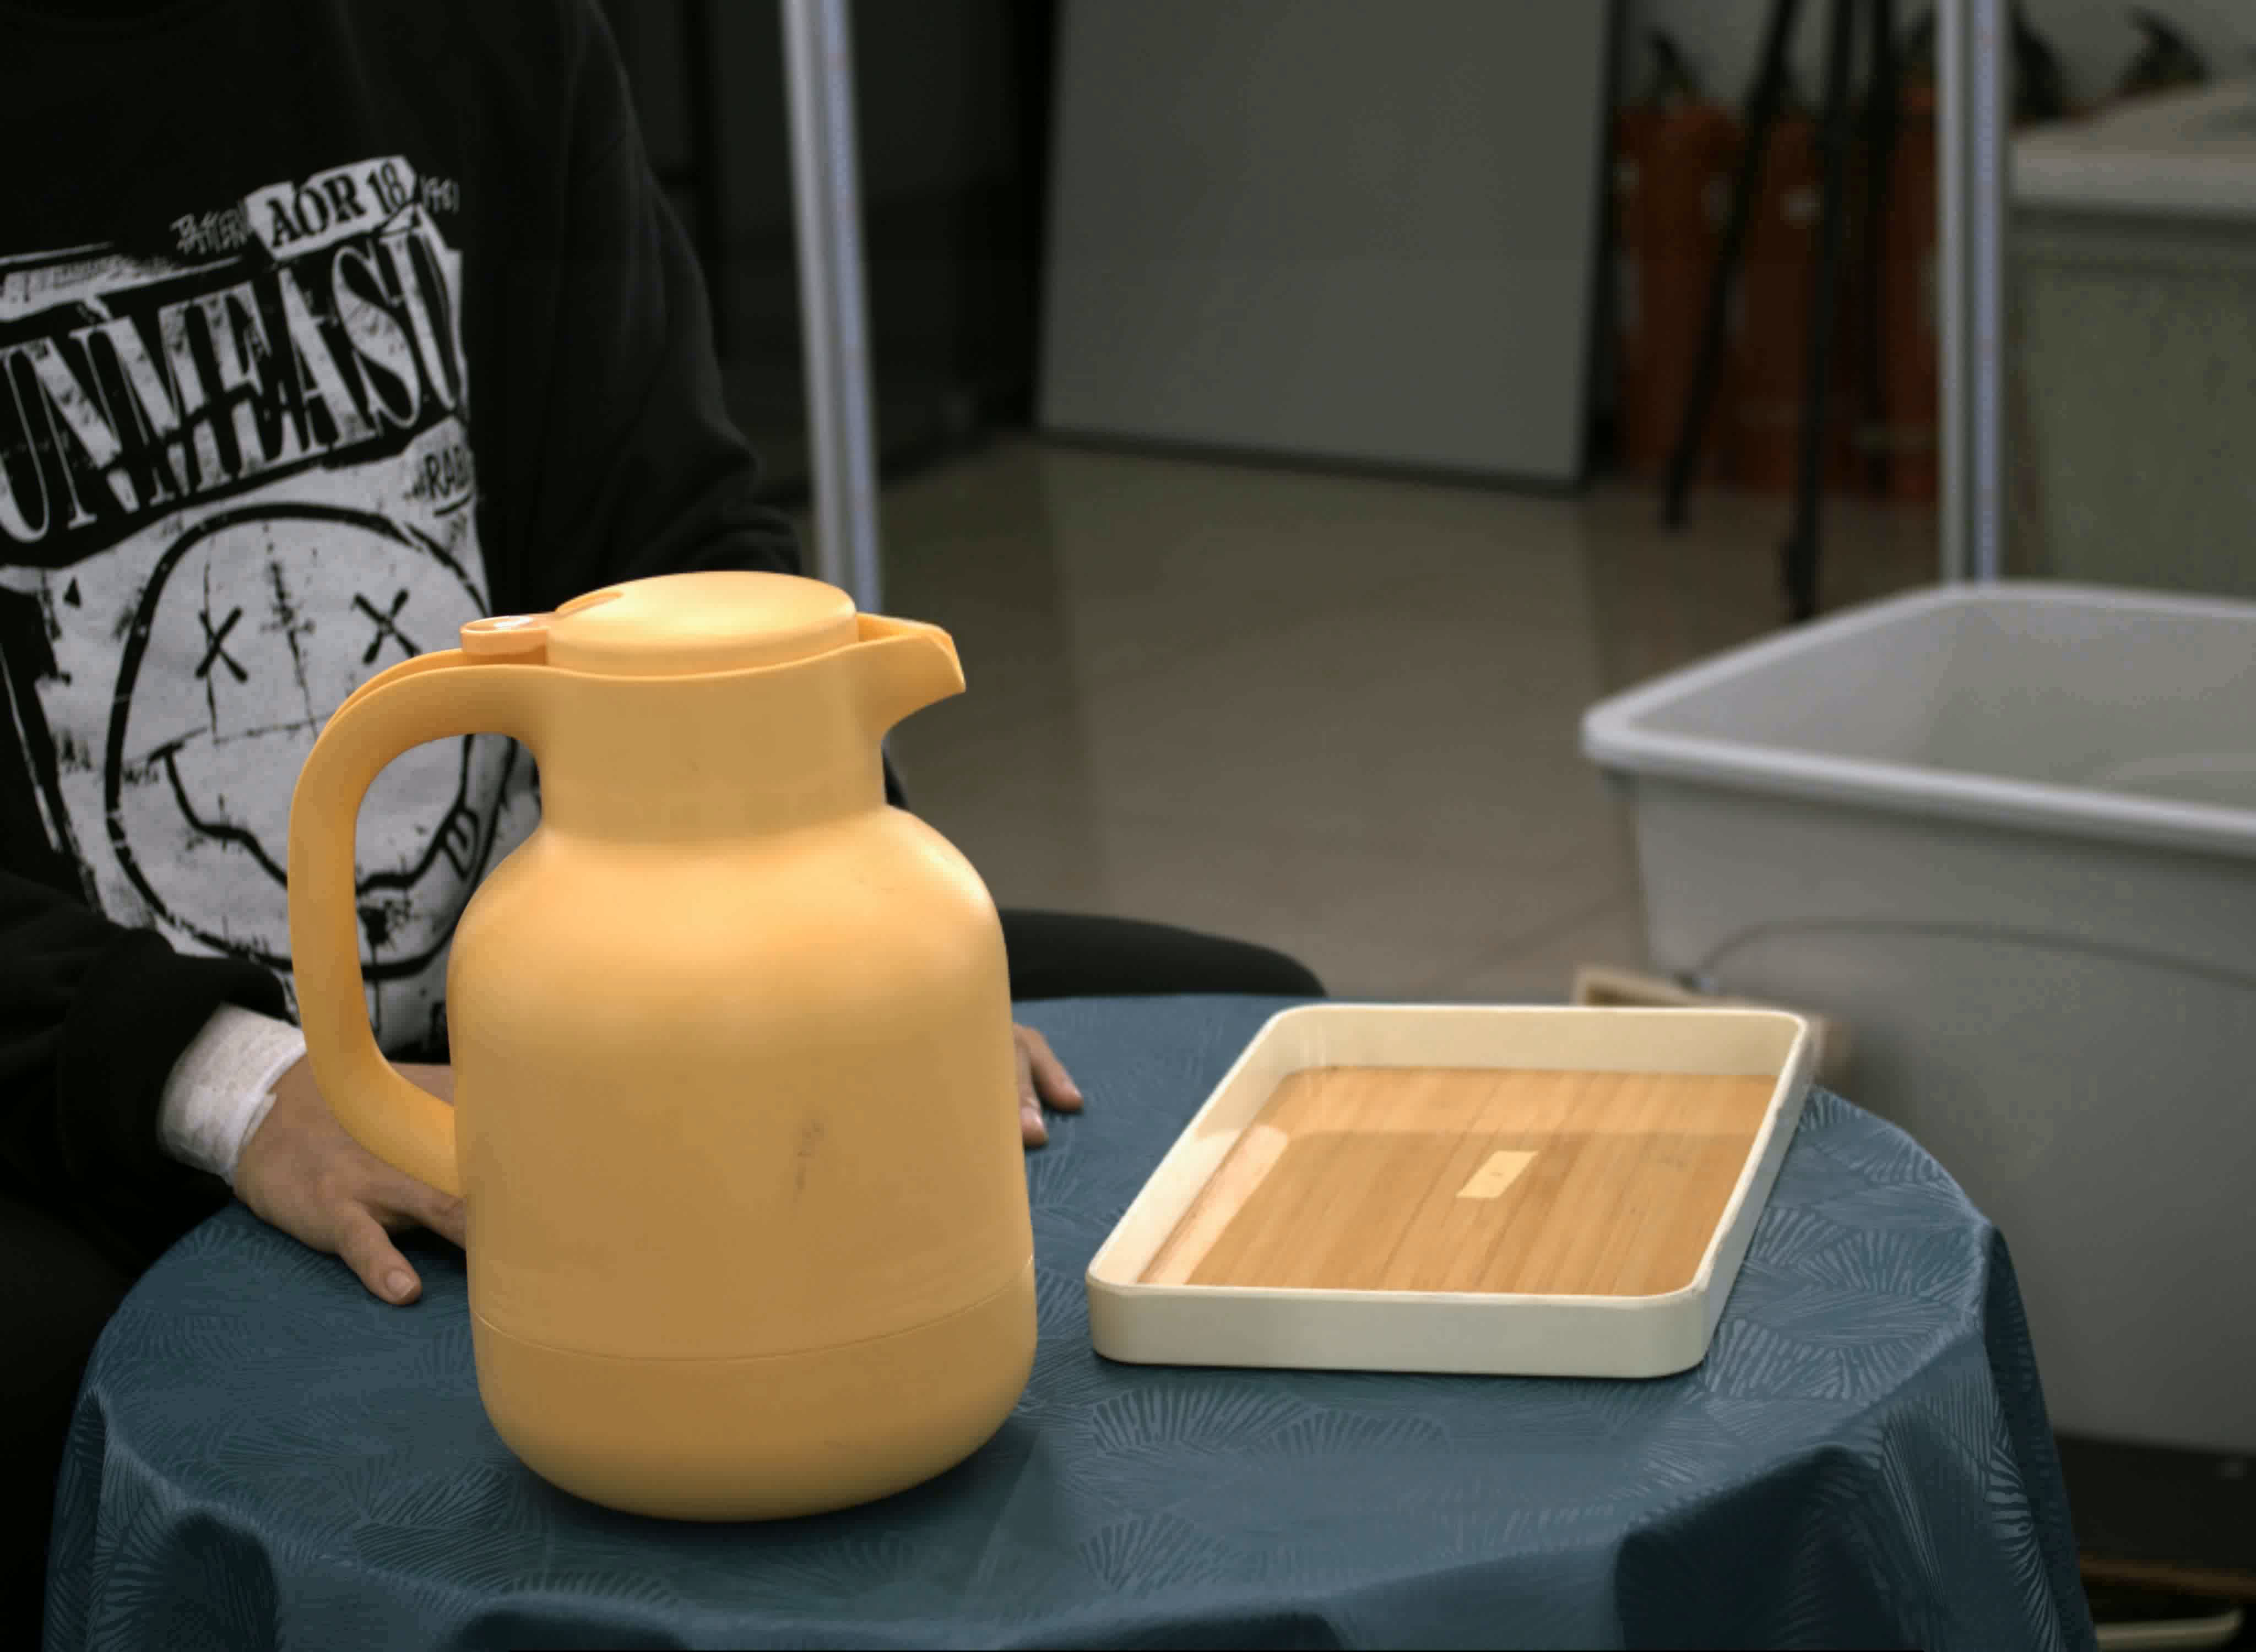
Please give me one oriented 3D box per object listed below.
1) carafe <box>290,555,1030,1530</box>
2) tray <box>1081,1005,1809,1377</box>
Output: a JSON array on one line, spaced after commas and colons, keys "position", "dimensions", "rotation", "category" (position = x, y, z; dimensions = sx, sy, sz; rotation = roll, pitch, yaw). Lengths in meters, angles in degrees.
[{"position": [-0.132, 0.058, 1.530], "dimensions": [0.200, 0.263, 0.163], "rotation": [-3, 11, 3], "category": "carafe"}, {"position": [0.109, 0.112, 1.721], "dimensions": [0.191, 0.028, 0.298], "rotation": [0, 14, 15], "category": "tray"}]
